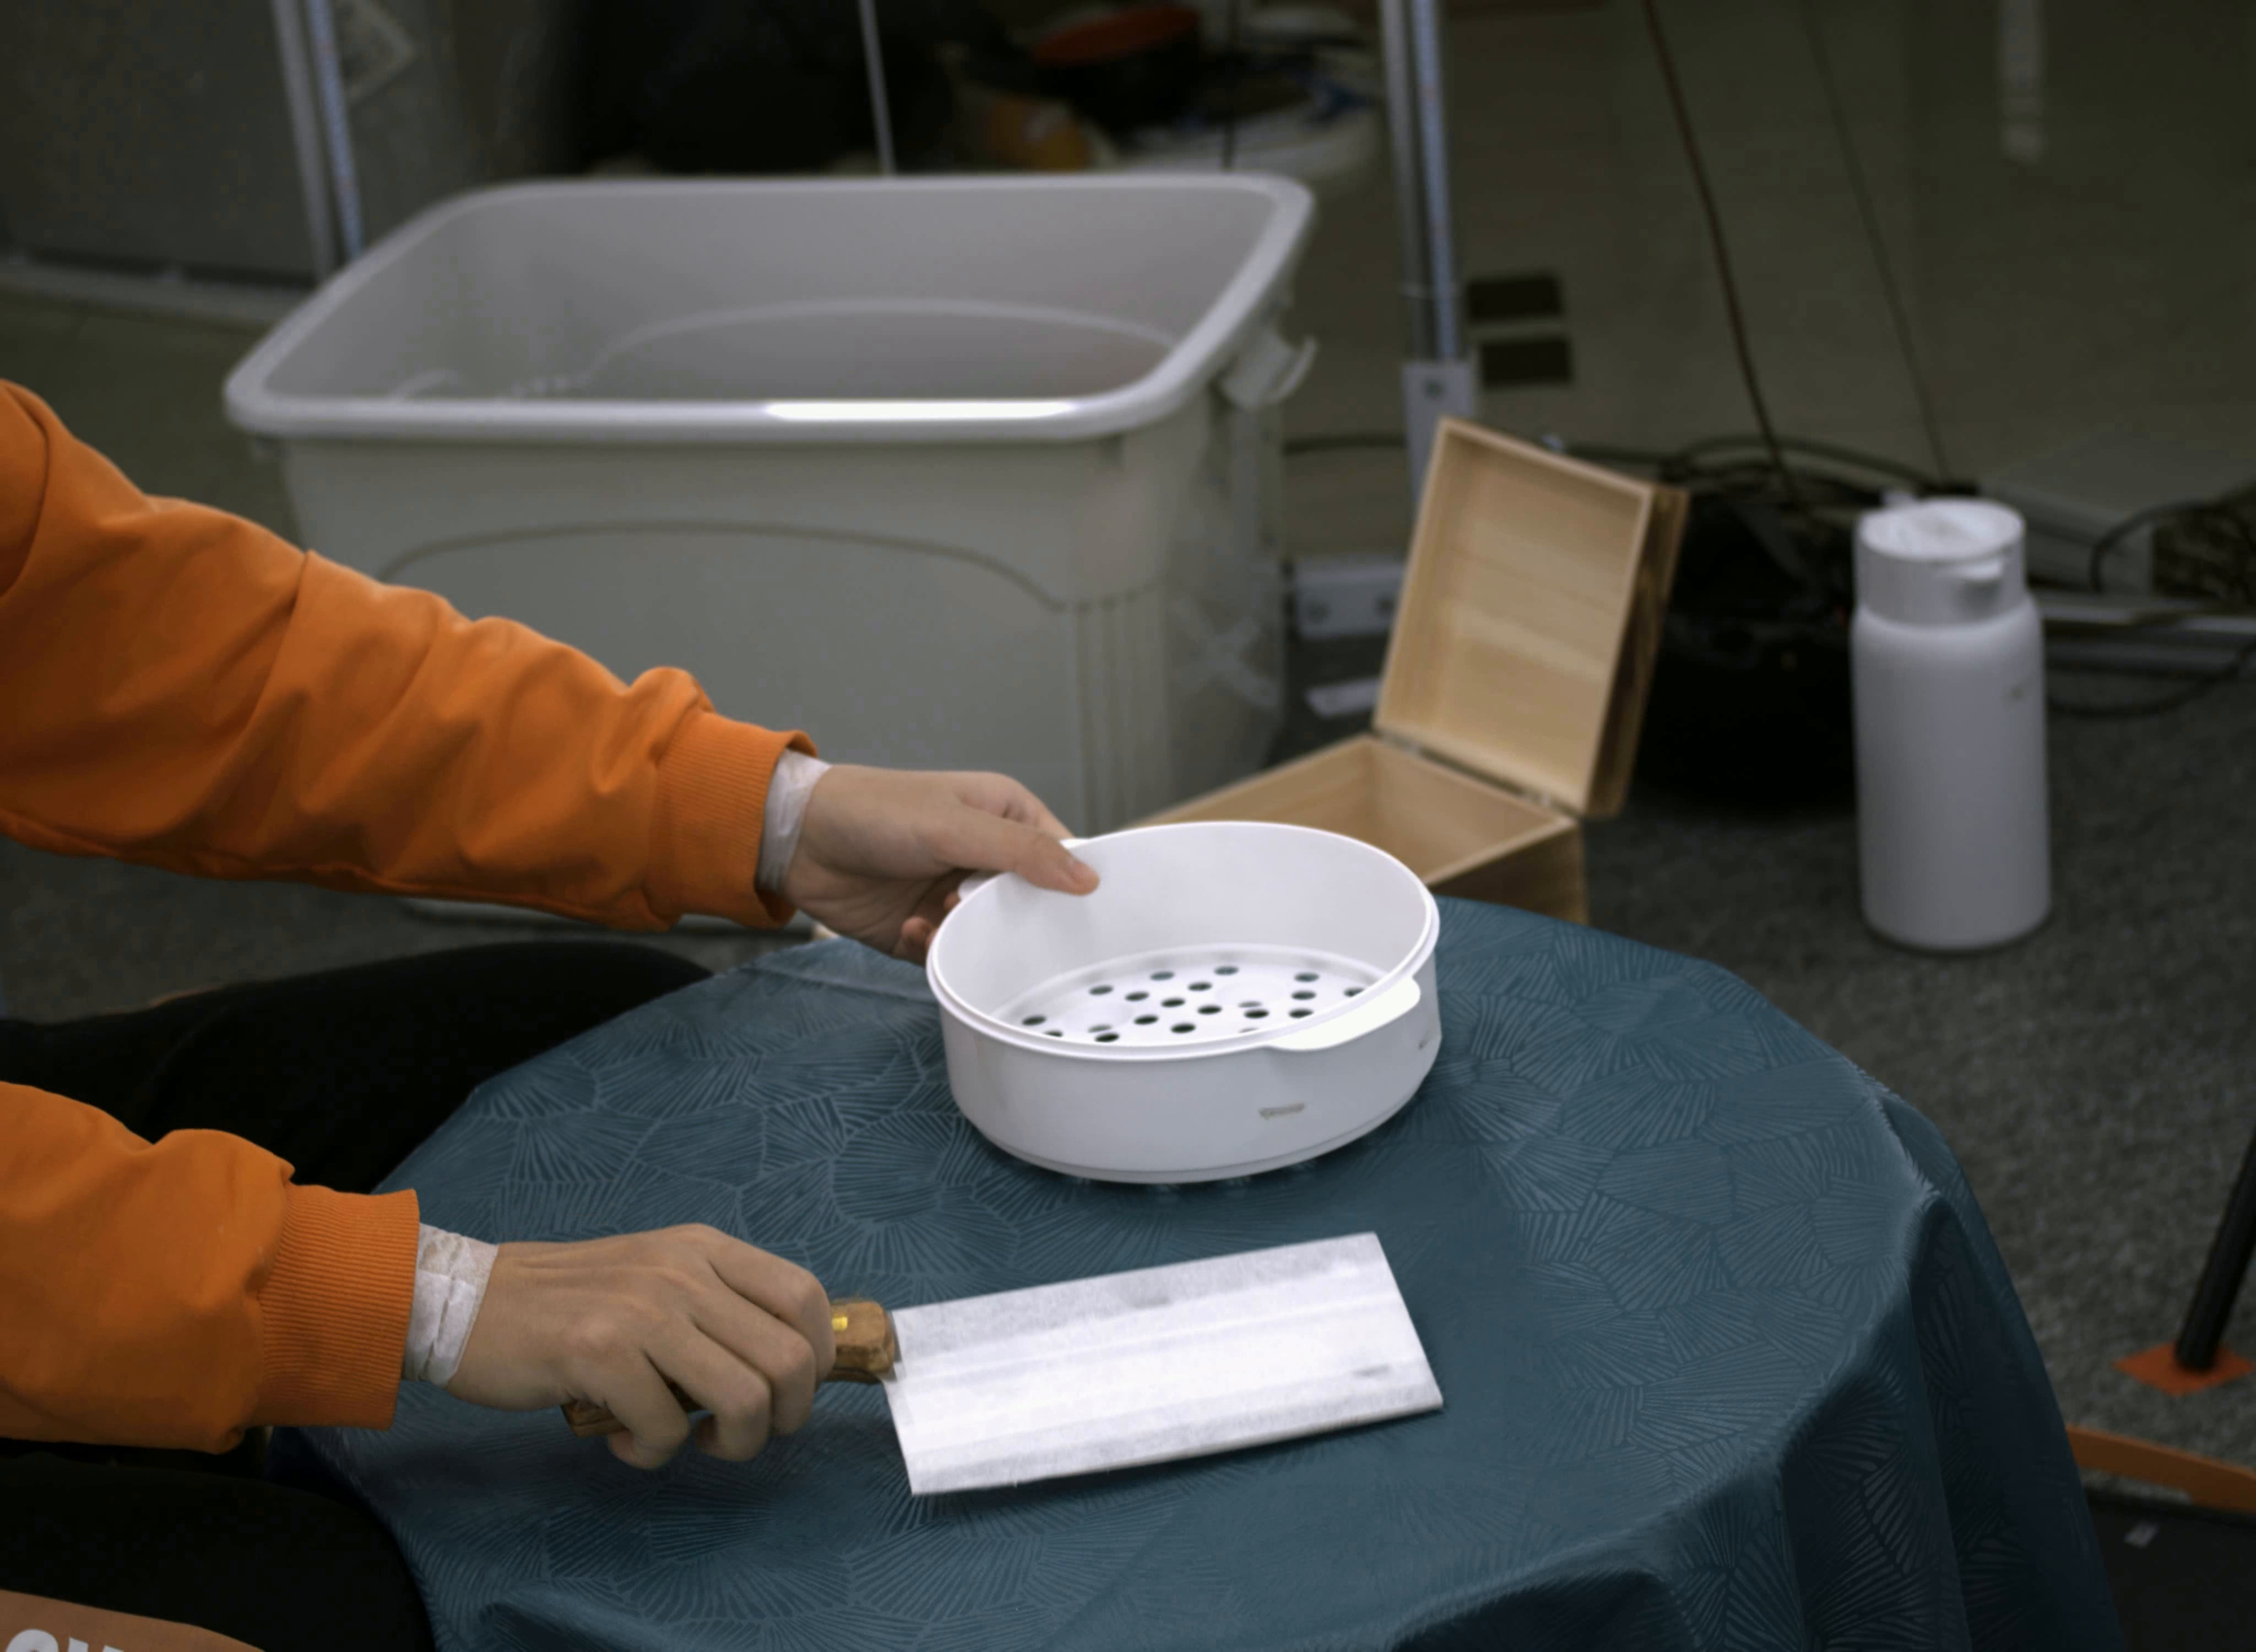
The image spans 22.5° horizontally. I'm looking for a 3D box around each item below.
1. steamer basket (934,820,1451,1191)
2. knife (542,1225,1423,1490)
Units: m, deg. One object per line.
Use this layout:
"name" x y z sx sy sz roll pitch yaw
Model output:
"steamer basket" 0.027 0.070 2.204 0.200 0.070 0.228 -24 32 -32
"knife" -0.048 0.193 1.983 0.305 0.021 0.091 -9 41 -11
